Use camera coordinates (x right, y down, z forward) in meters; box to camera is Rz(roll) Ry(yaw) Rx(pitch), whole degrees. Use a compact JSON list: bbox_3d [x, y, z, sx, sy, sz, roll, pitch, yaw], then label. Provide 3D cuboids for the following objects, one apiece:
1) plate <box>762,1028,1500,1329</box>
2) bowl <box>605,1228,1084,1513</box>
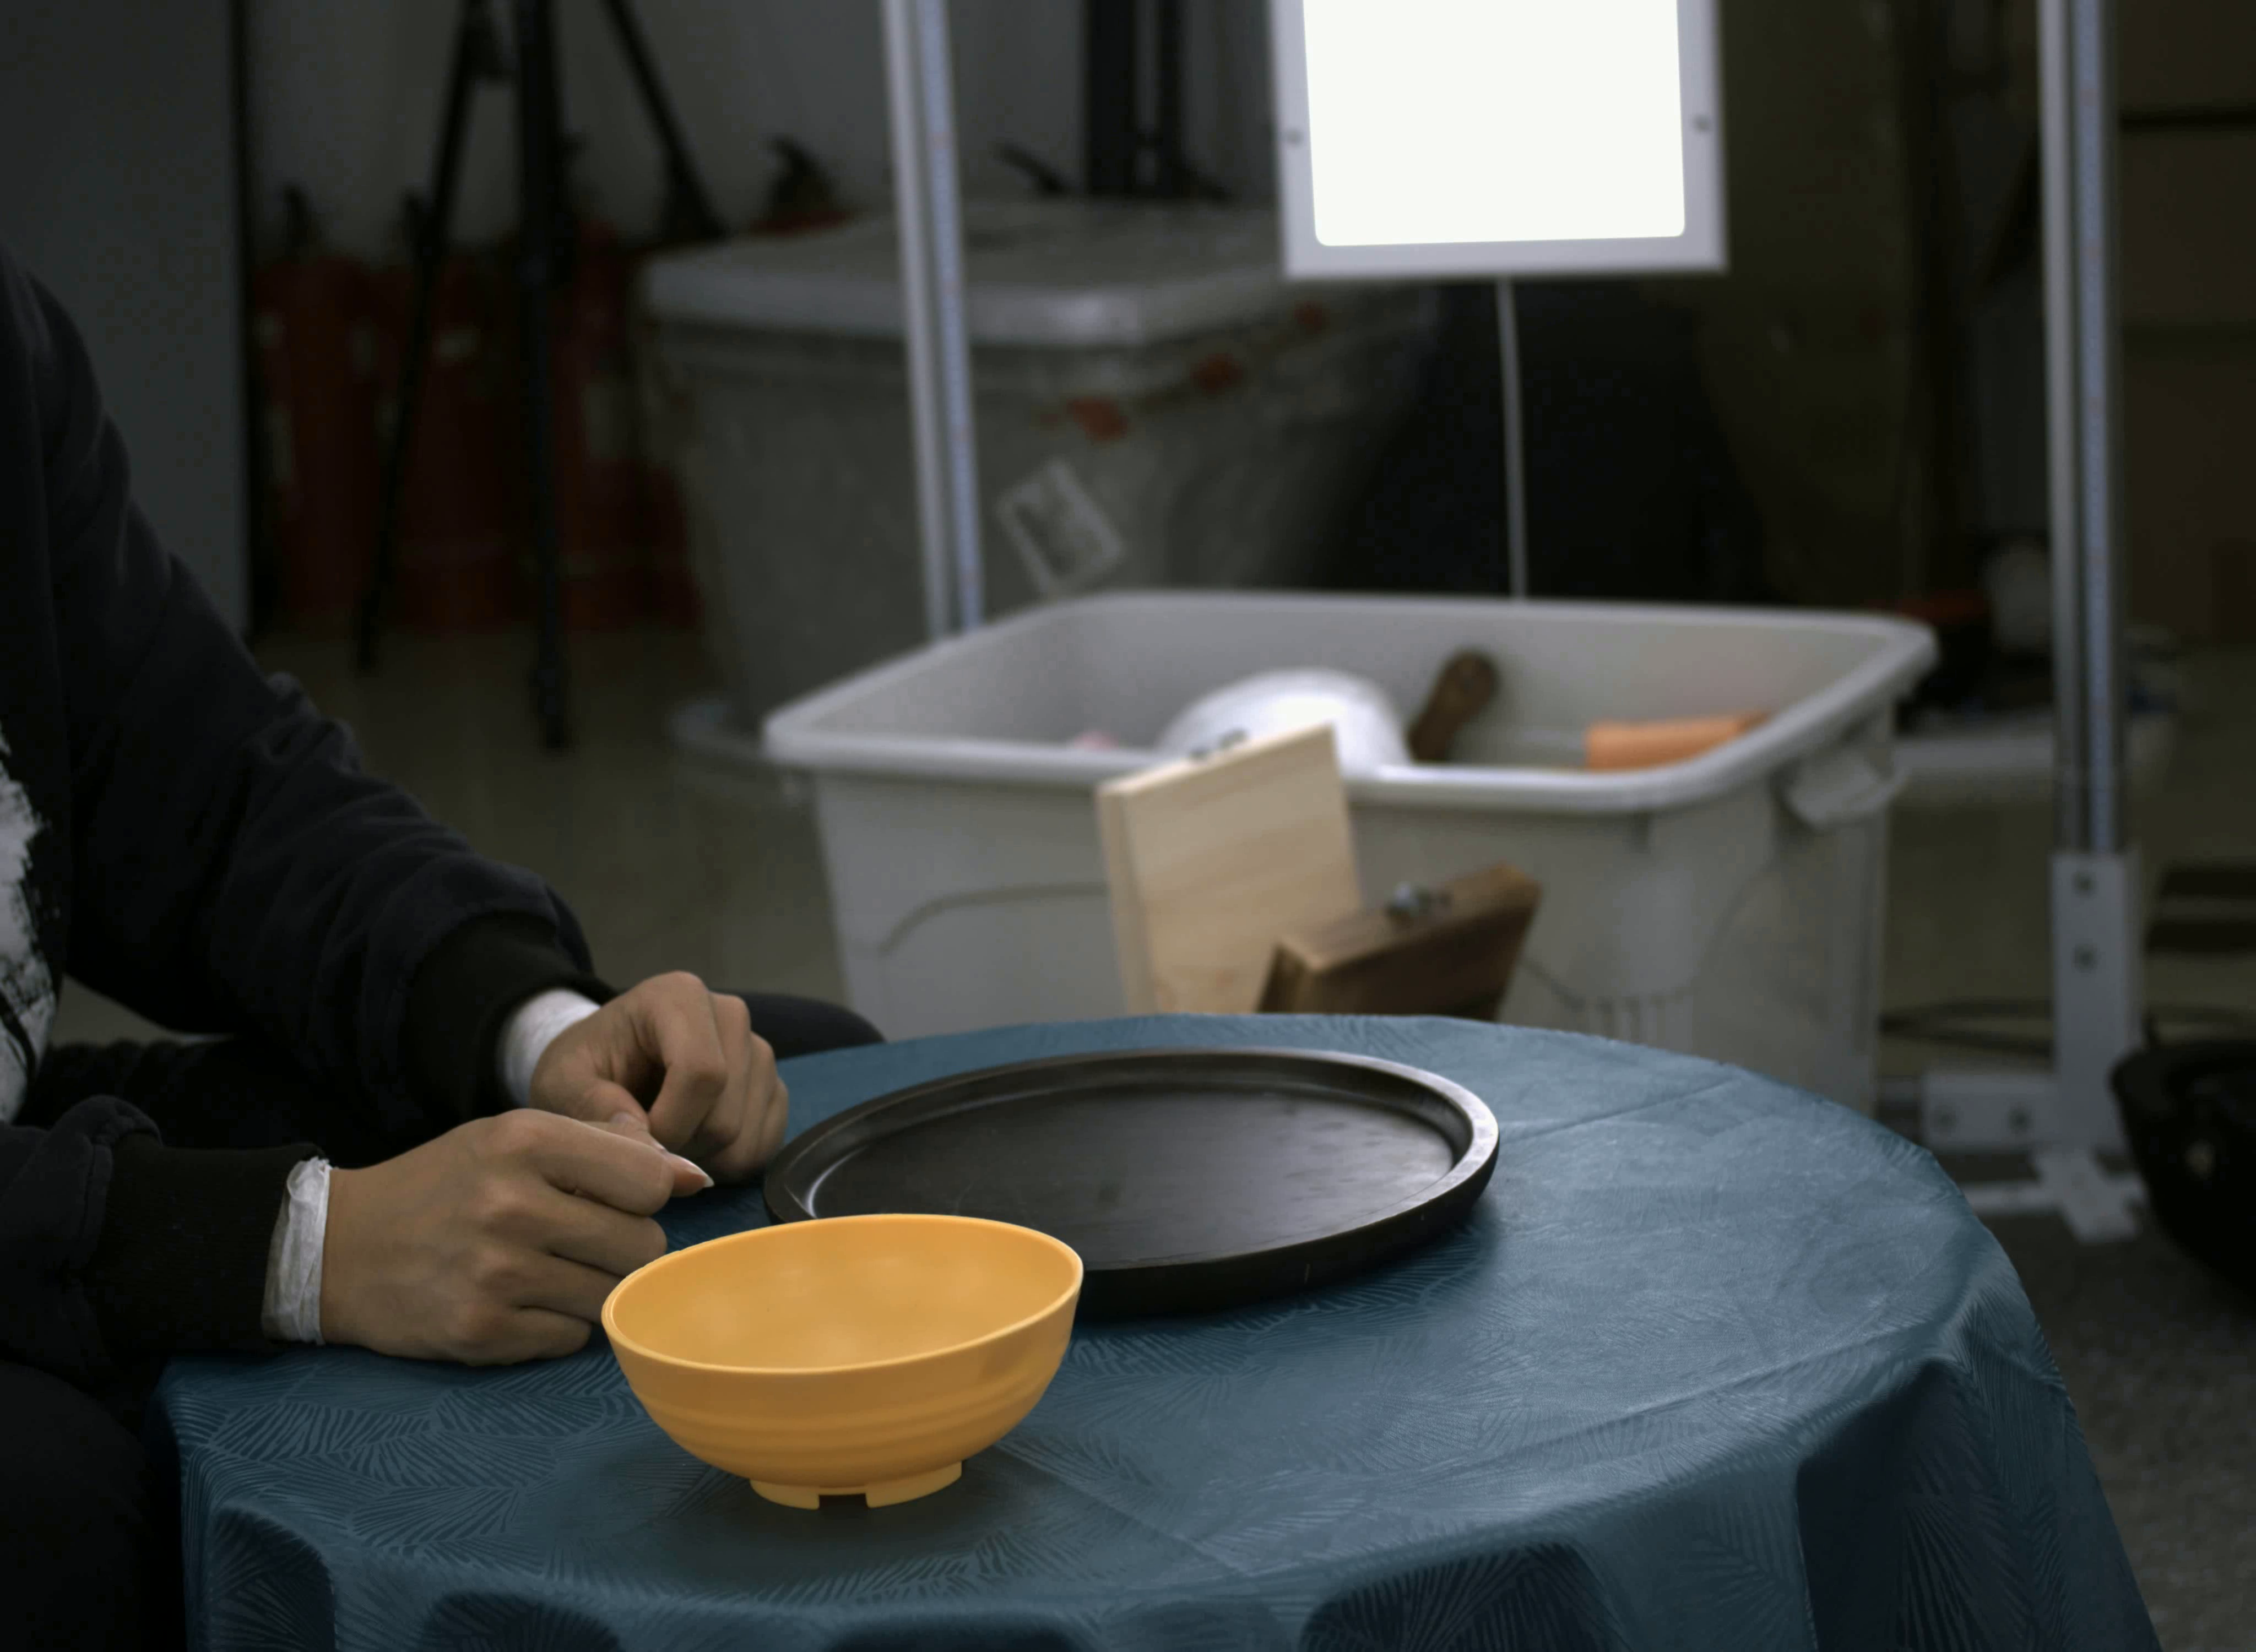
[{"bbox_3d":[0.002,0.120,1.875,0.254,0.029,0.254,-6,15,0],"label":"plate"},{"bbox_3d":[-0.082,0.166,1.645,0.145,0.060,0.145,-5,11,0],"label":"bowl"}]
